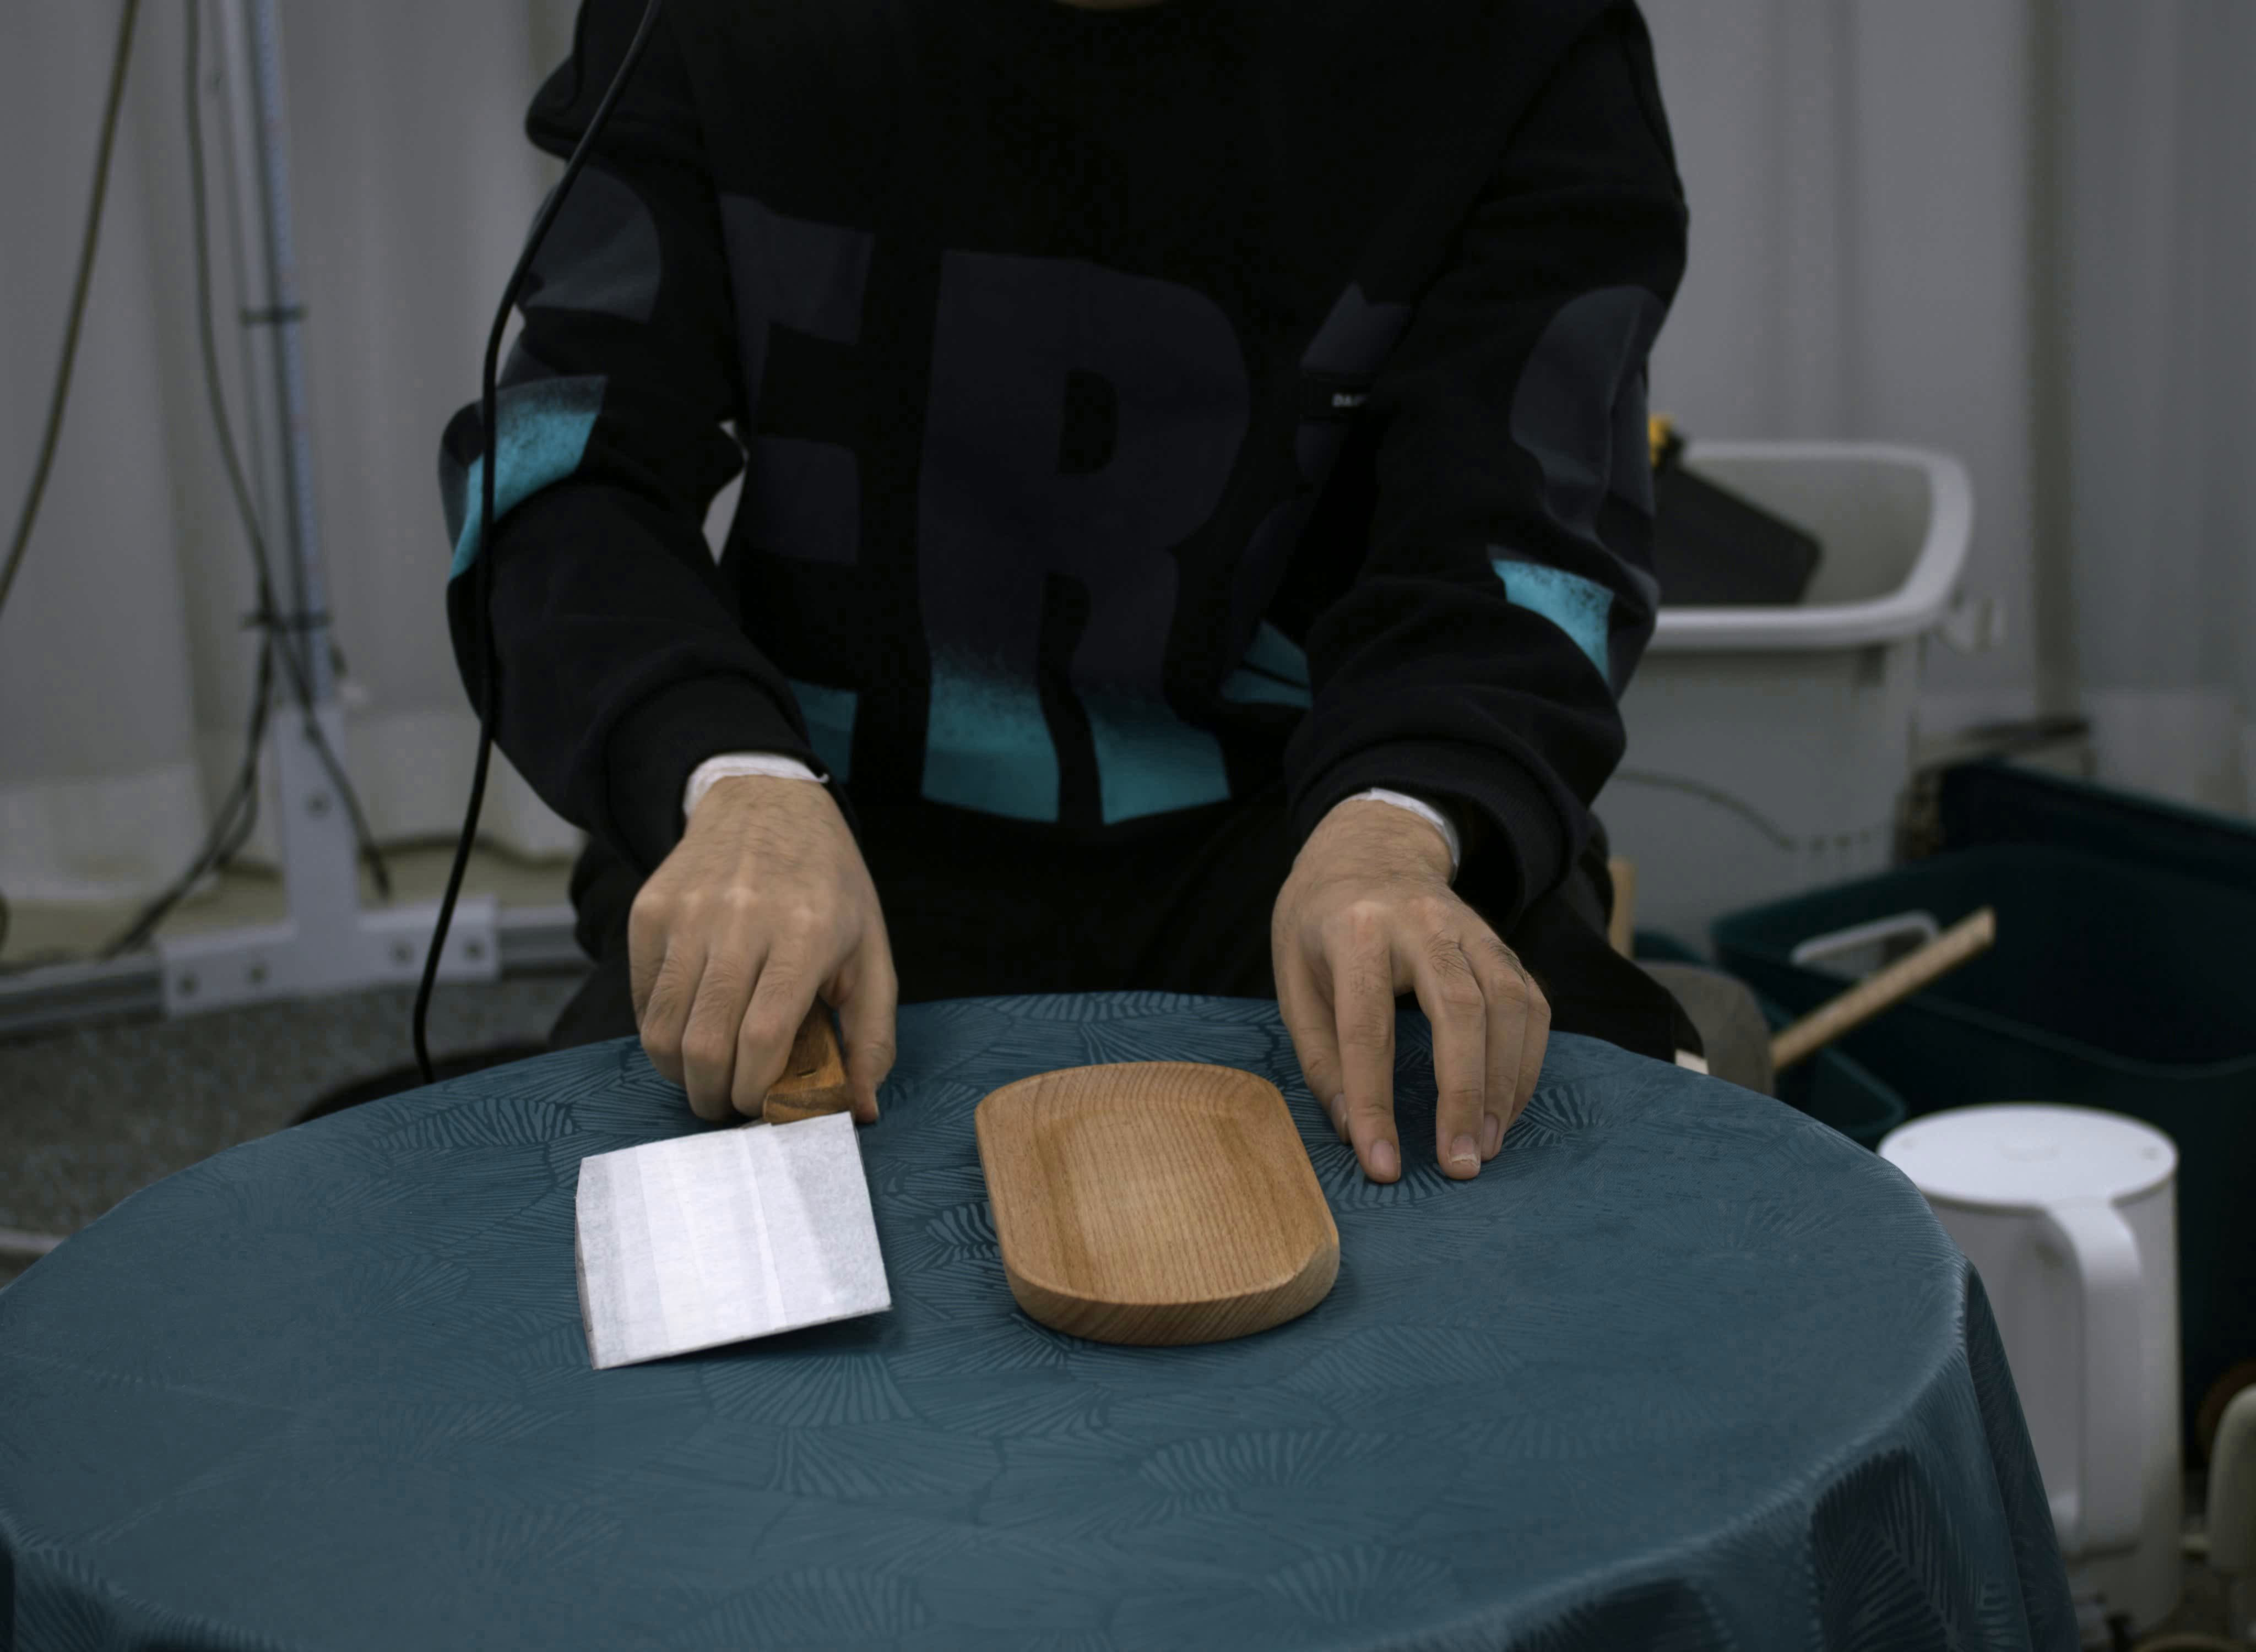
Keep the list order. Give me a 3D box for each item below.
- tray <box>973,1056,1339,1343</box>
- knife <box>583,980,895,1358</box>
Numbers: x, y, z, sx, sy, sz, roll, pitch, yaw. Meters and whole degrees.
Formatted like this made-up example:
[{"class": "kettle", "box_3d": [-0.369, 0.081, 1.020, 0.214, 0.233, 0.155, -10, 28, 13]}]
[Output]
[{"class": "tray", "box_3d": [0.007, 0.113, 1.688, 0.101, 0.020, 0.233, -3, 14, -4]}, {"class": "knife", "box_3d": [-0.127, 0.108, 1.733, 0.092, 0.021, 0.308, -12, 16, -3]}]
